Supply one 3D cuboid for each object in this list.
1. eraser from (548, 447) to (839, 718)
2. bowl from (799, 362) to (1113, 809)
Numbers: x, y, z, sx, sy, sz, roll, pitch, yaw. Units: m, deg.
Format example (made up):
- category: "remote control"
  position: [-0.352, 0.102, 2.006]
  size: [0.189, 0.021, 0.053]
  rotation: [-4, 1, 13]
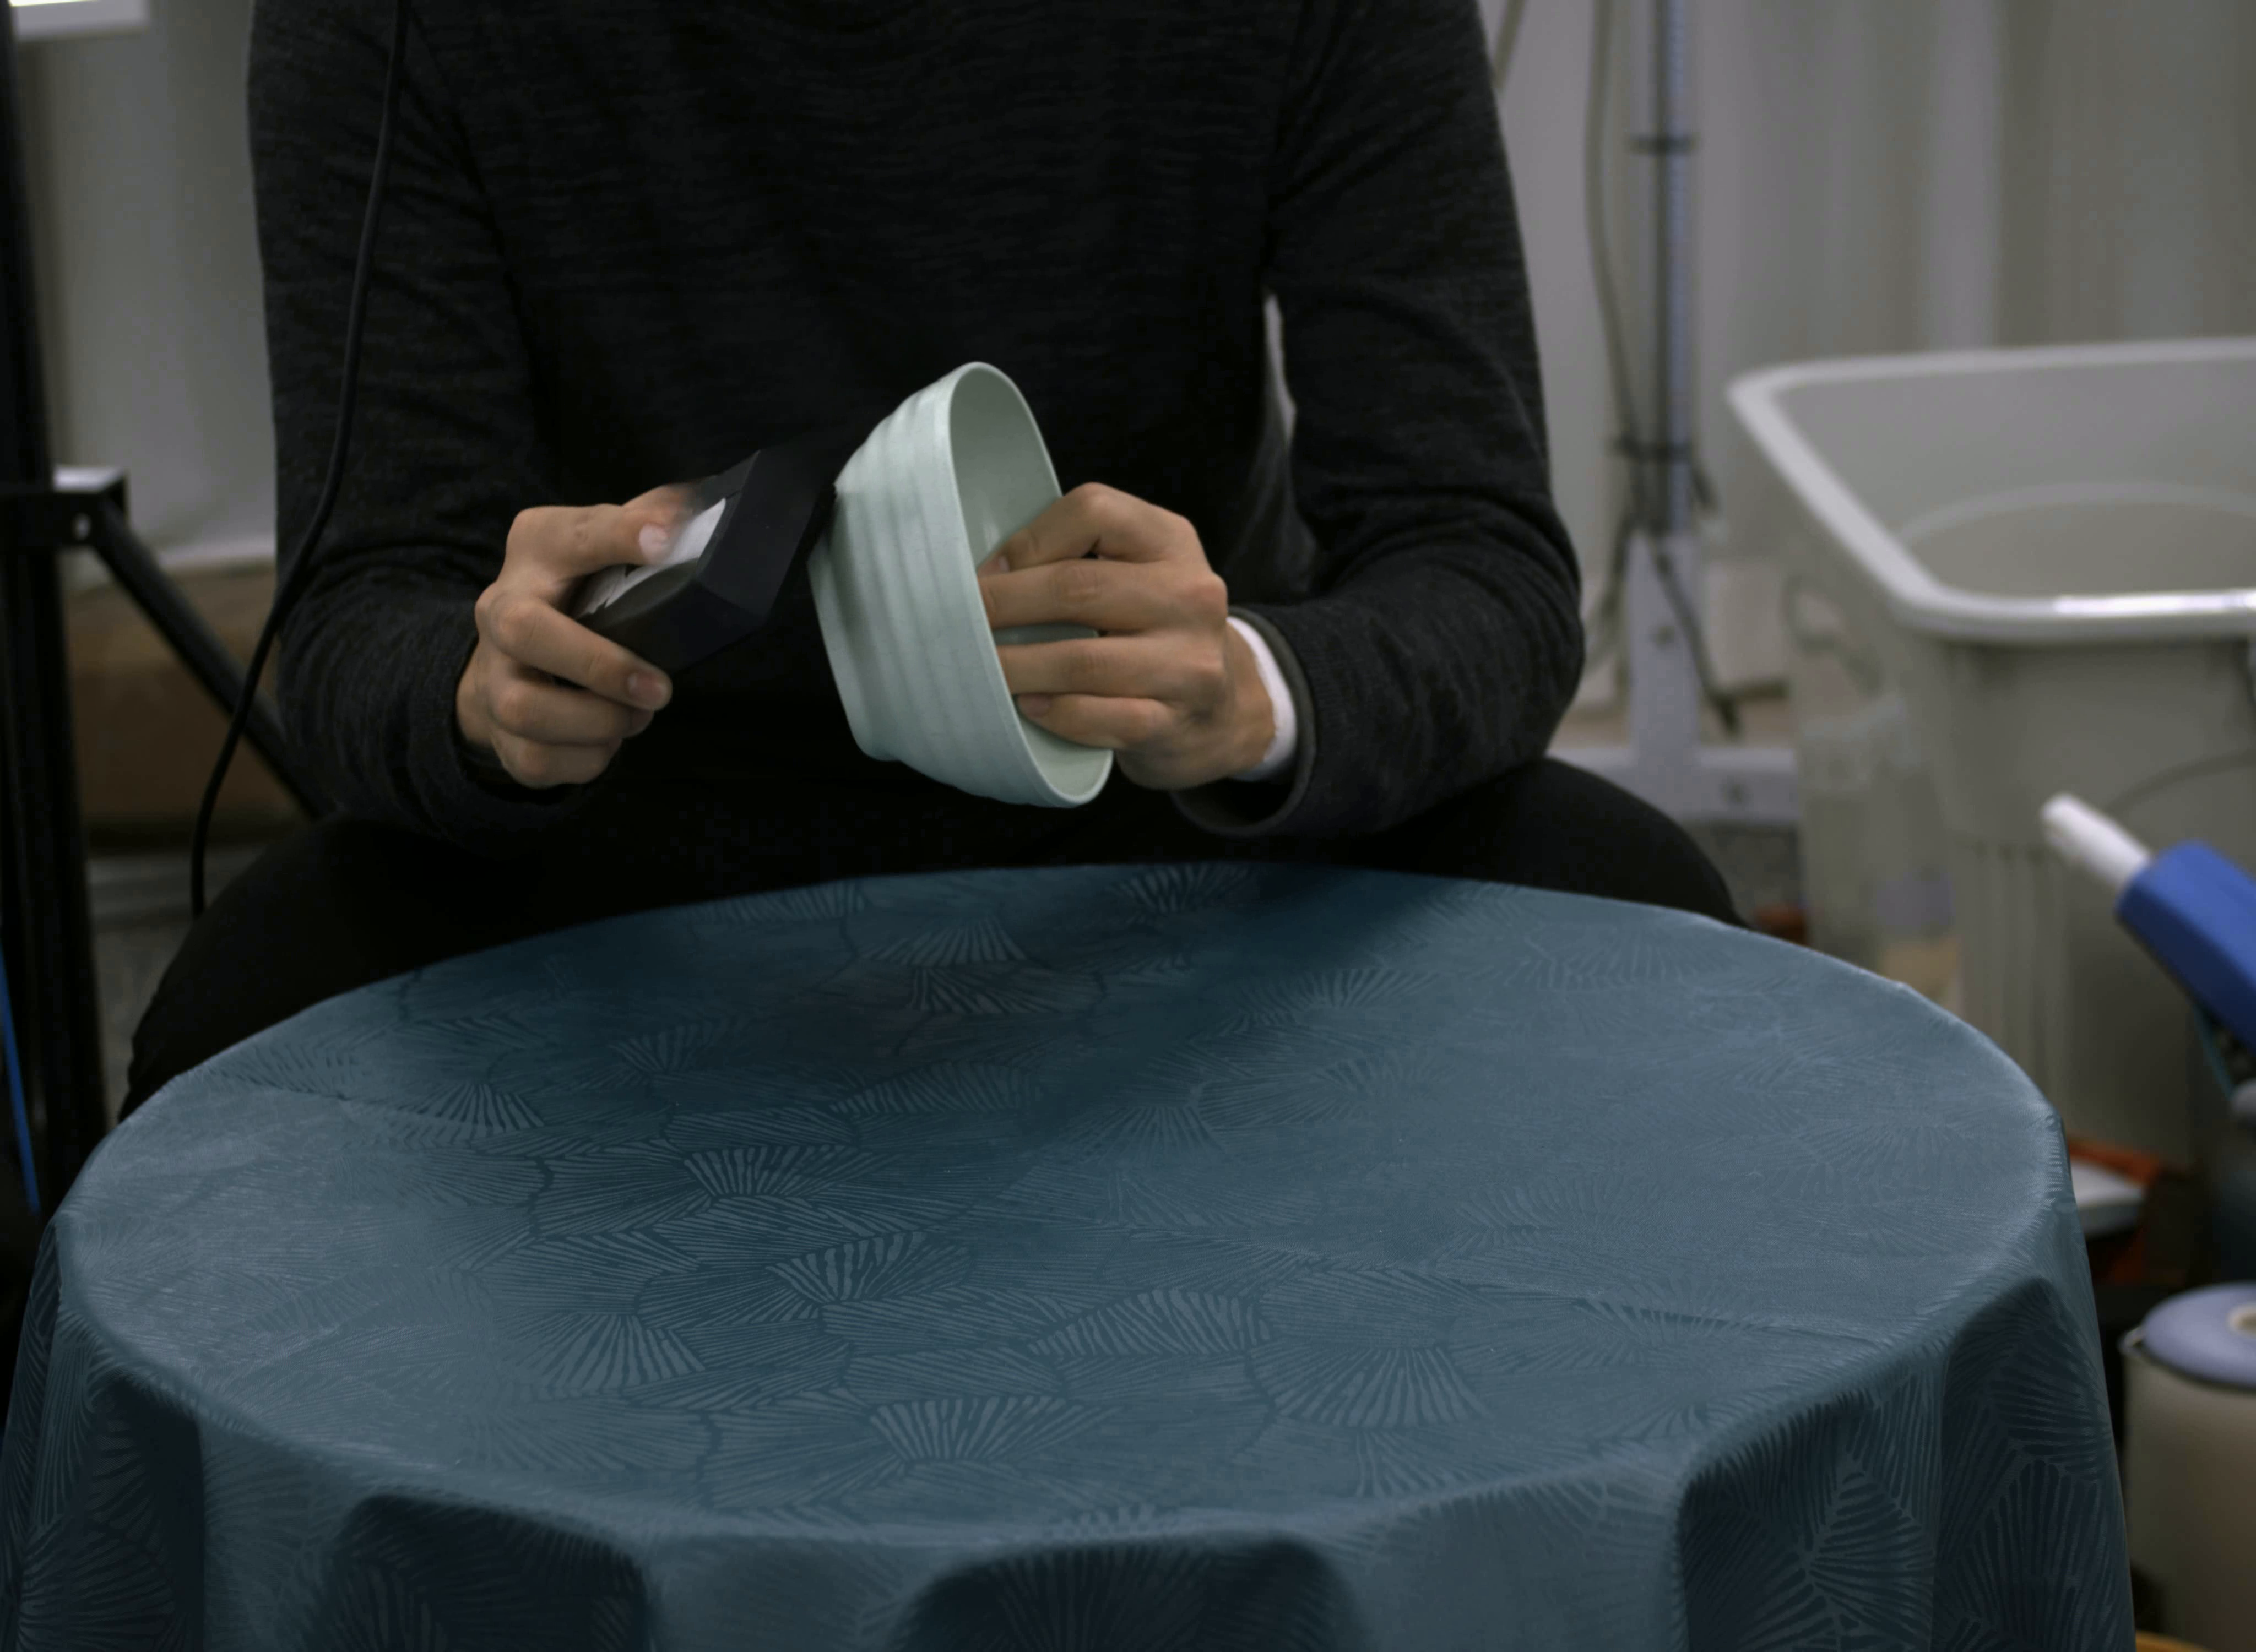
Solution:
- category: "eraser"
  position: [-0.133, -0.074, 1.627]
  size: [0.030, 0.053, 0.127]
  rotation: [34, -26, -17]
- category: "bowl"
  position: [-0.057, -0.067, 1.633]
  size: [0.059, 0.151, 0.150]
  rotation: [-14, 12, 15]
